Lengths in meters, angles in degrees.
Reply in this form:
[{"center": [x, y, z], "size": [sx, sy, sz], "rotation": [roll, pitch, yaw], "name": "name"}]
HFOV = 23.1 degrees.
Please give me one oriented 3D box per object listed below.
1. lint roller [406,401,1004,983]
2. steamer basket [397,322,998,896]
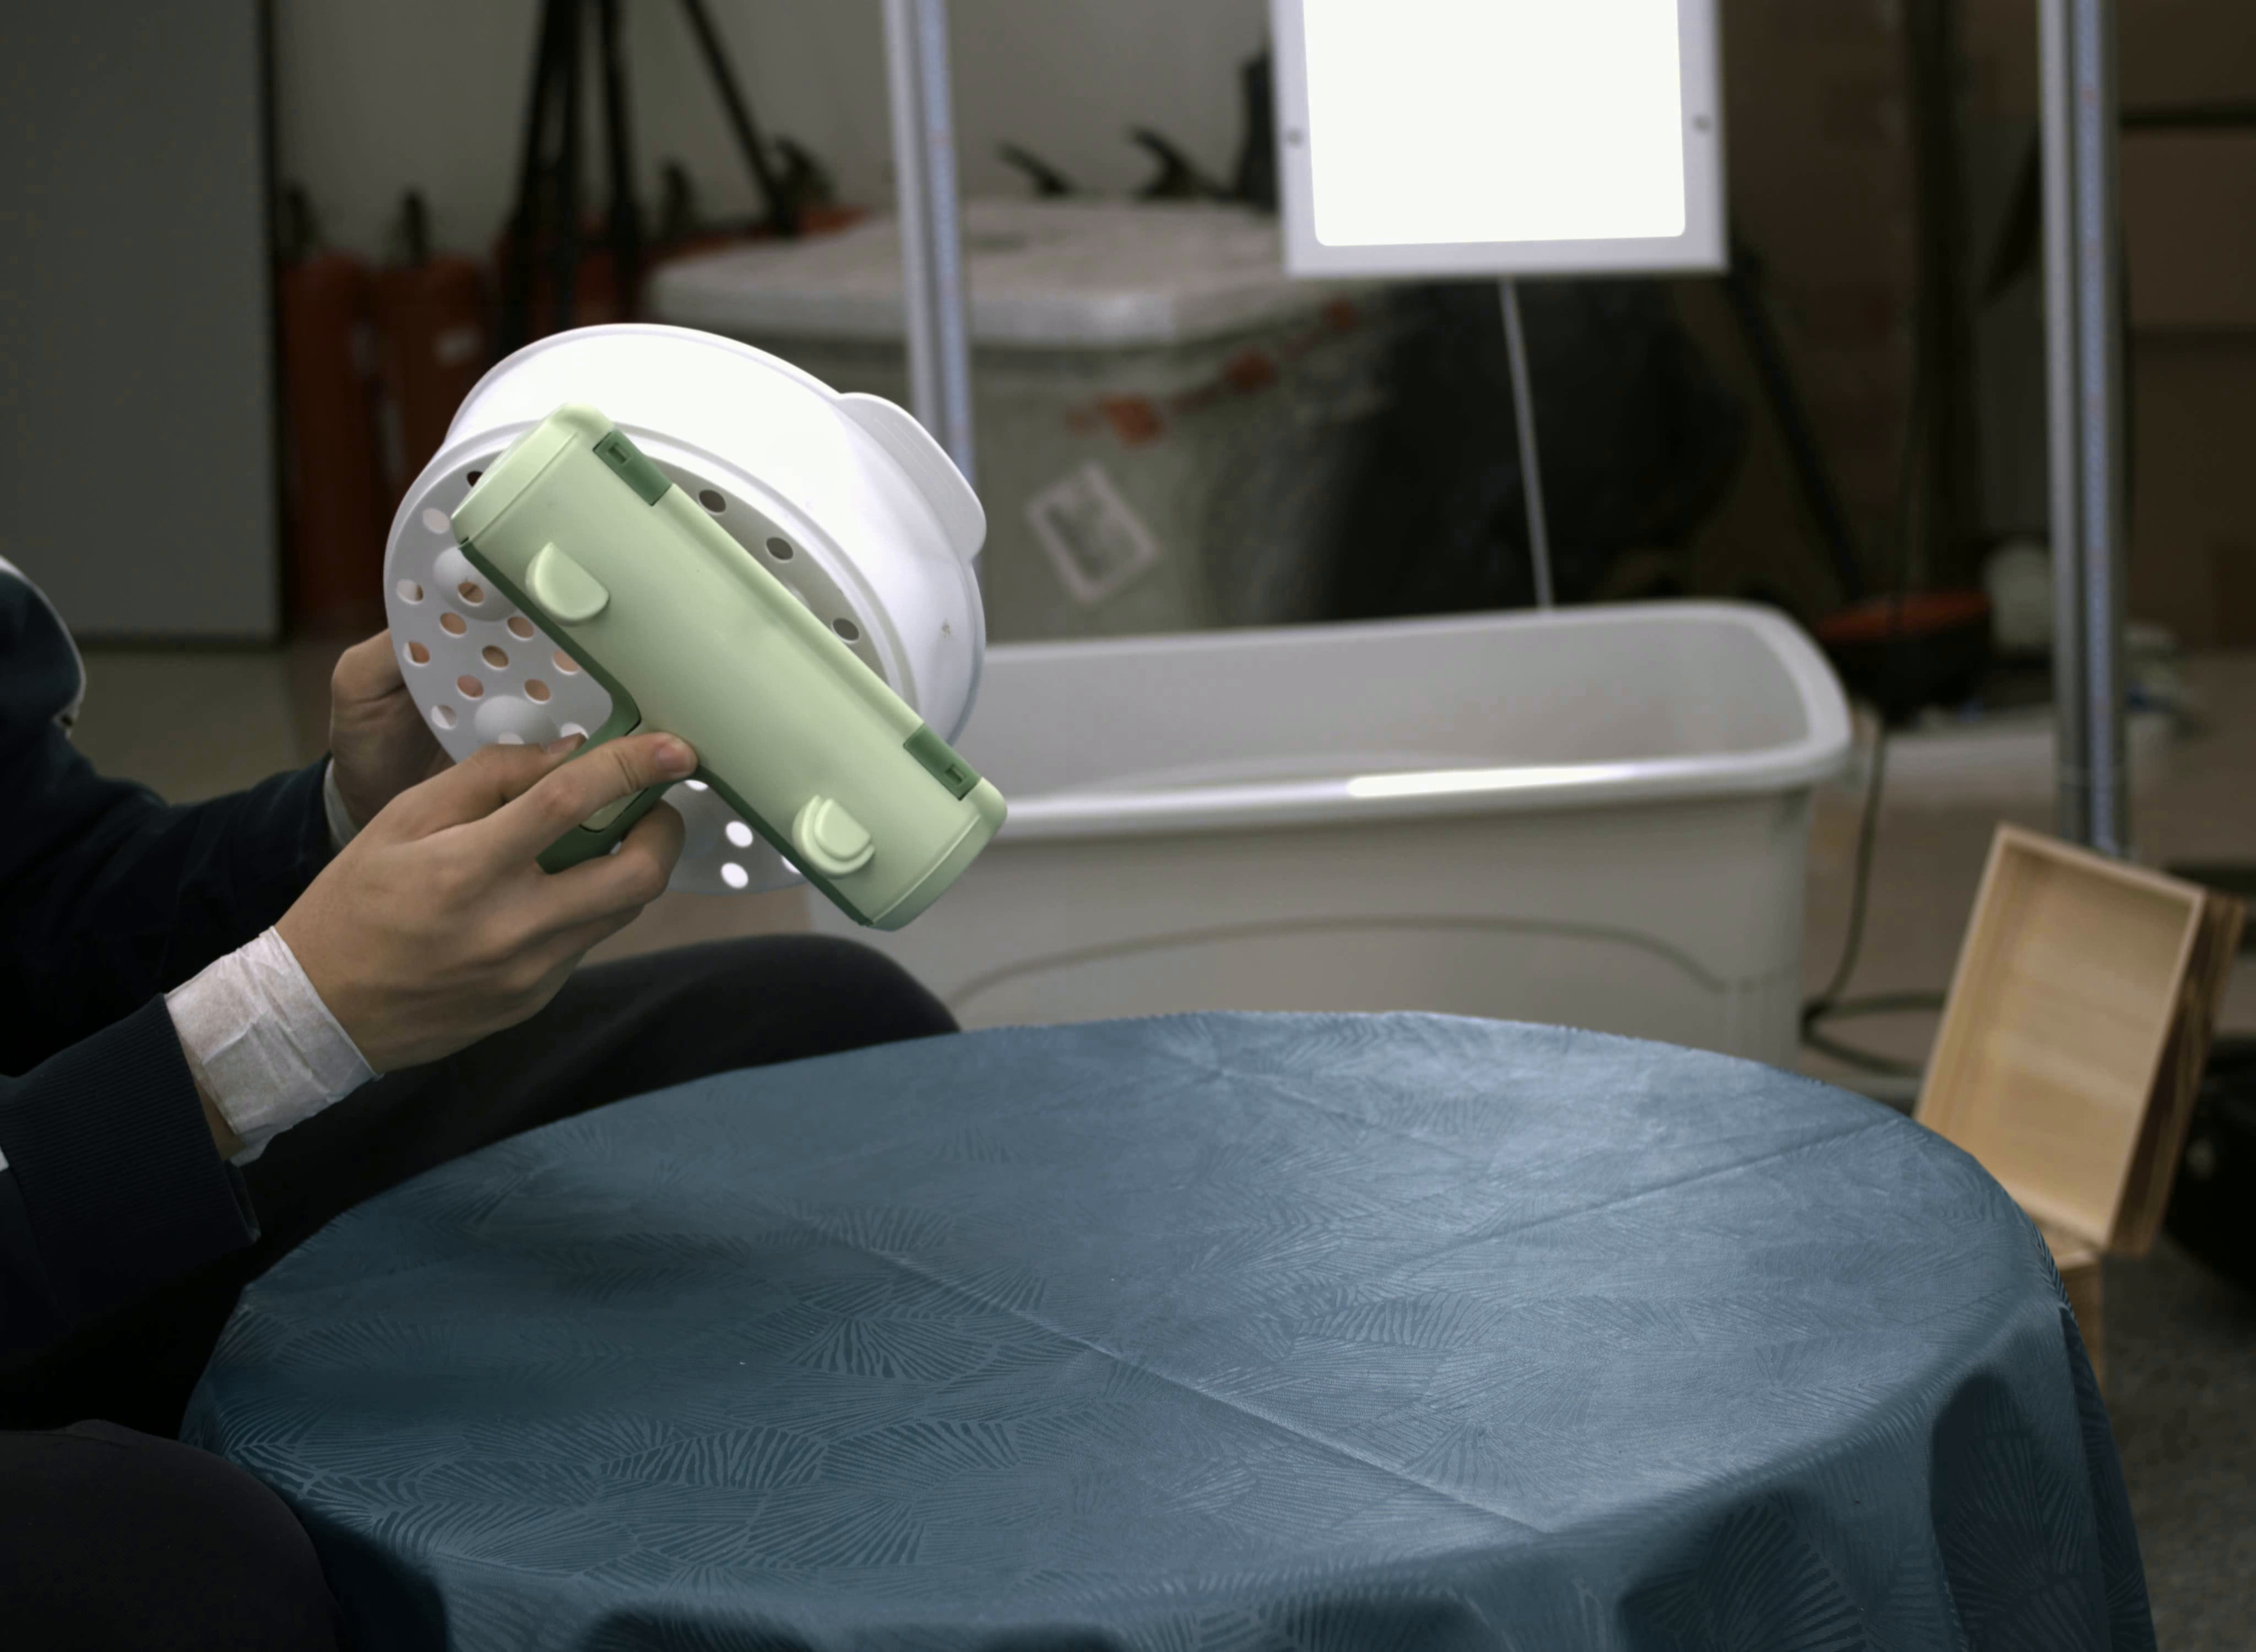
[{"center": [-0.168, -0.008, 1.759], "size": [0.185, 0.198, 0.082], "rotation": [-45, 9, 11], "name": "lint roller"}, {"center": [-0.147, -0.067, 1.833], "size": [0.236, 0.200, 0.068], "rotation": [-23, 25, 40], "name": "steamer basket"}]
